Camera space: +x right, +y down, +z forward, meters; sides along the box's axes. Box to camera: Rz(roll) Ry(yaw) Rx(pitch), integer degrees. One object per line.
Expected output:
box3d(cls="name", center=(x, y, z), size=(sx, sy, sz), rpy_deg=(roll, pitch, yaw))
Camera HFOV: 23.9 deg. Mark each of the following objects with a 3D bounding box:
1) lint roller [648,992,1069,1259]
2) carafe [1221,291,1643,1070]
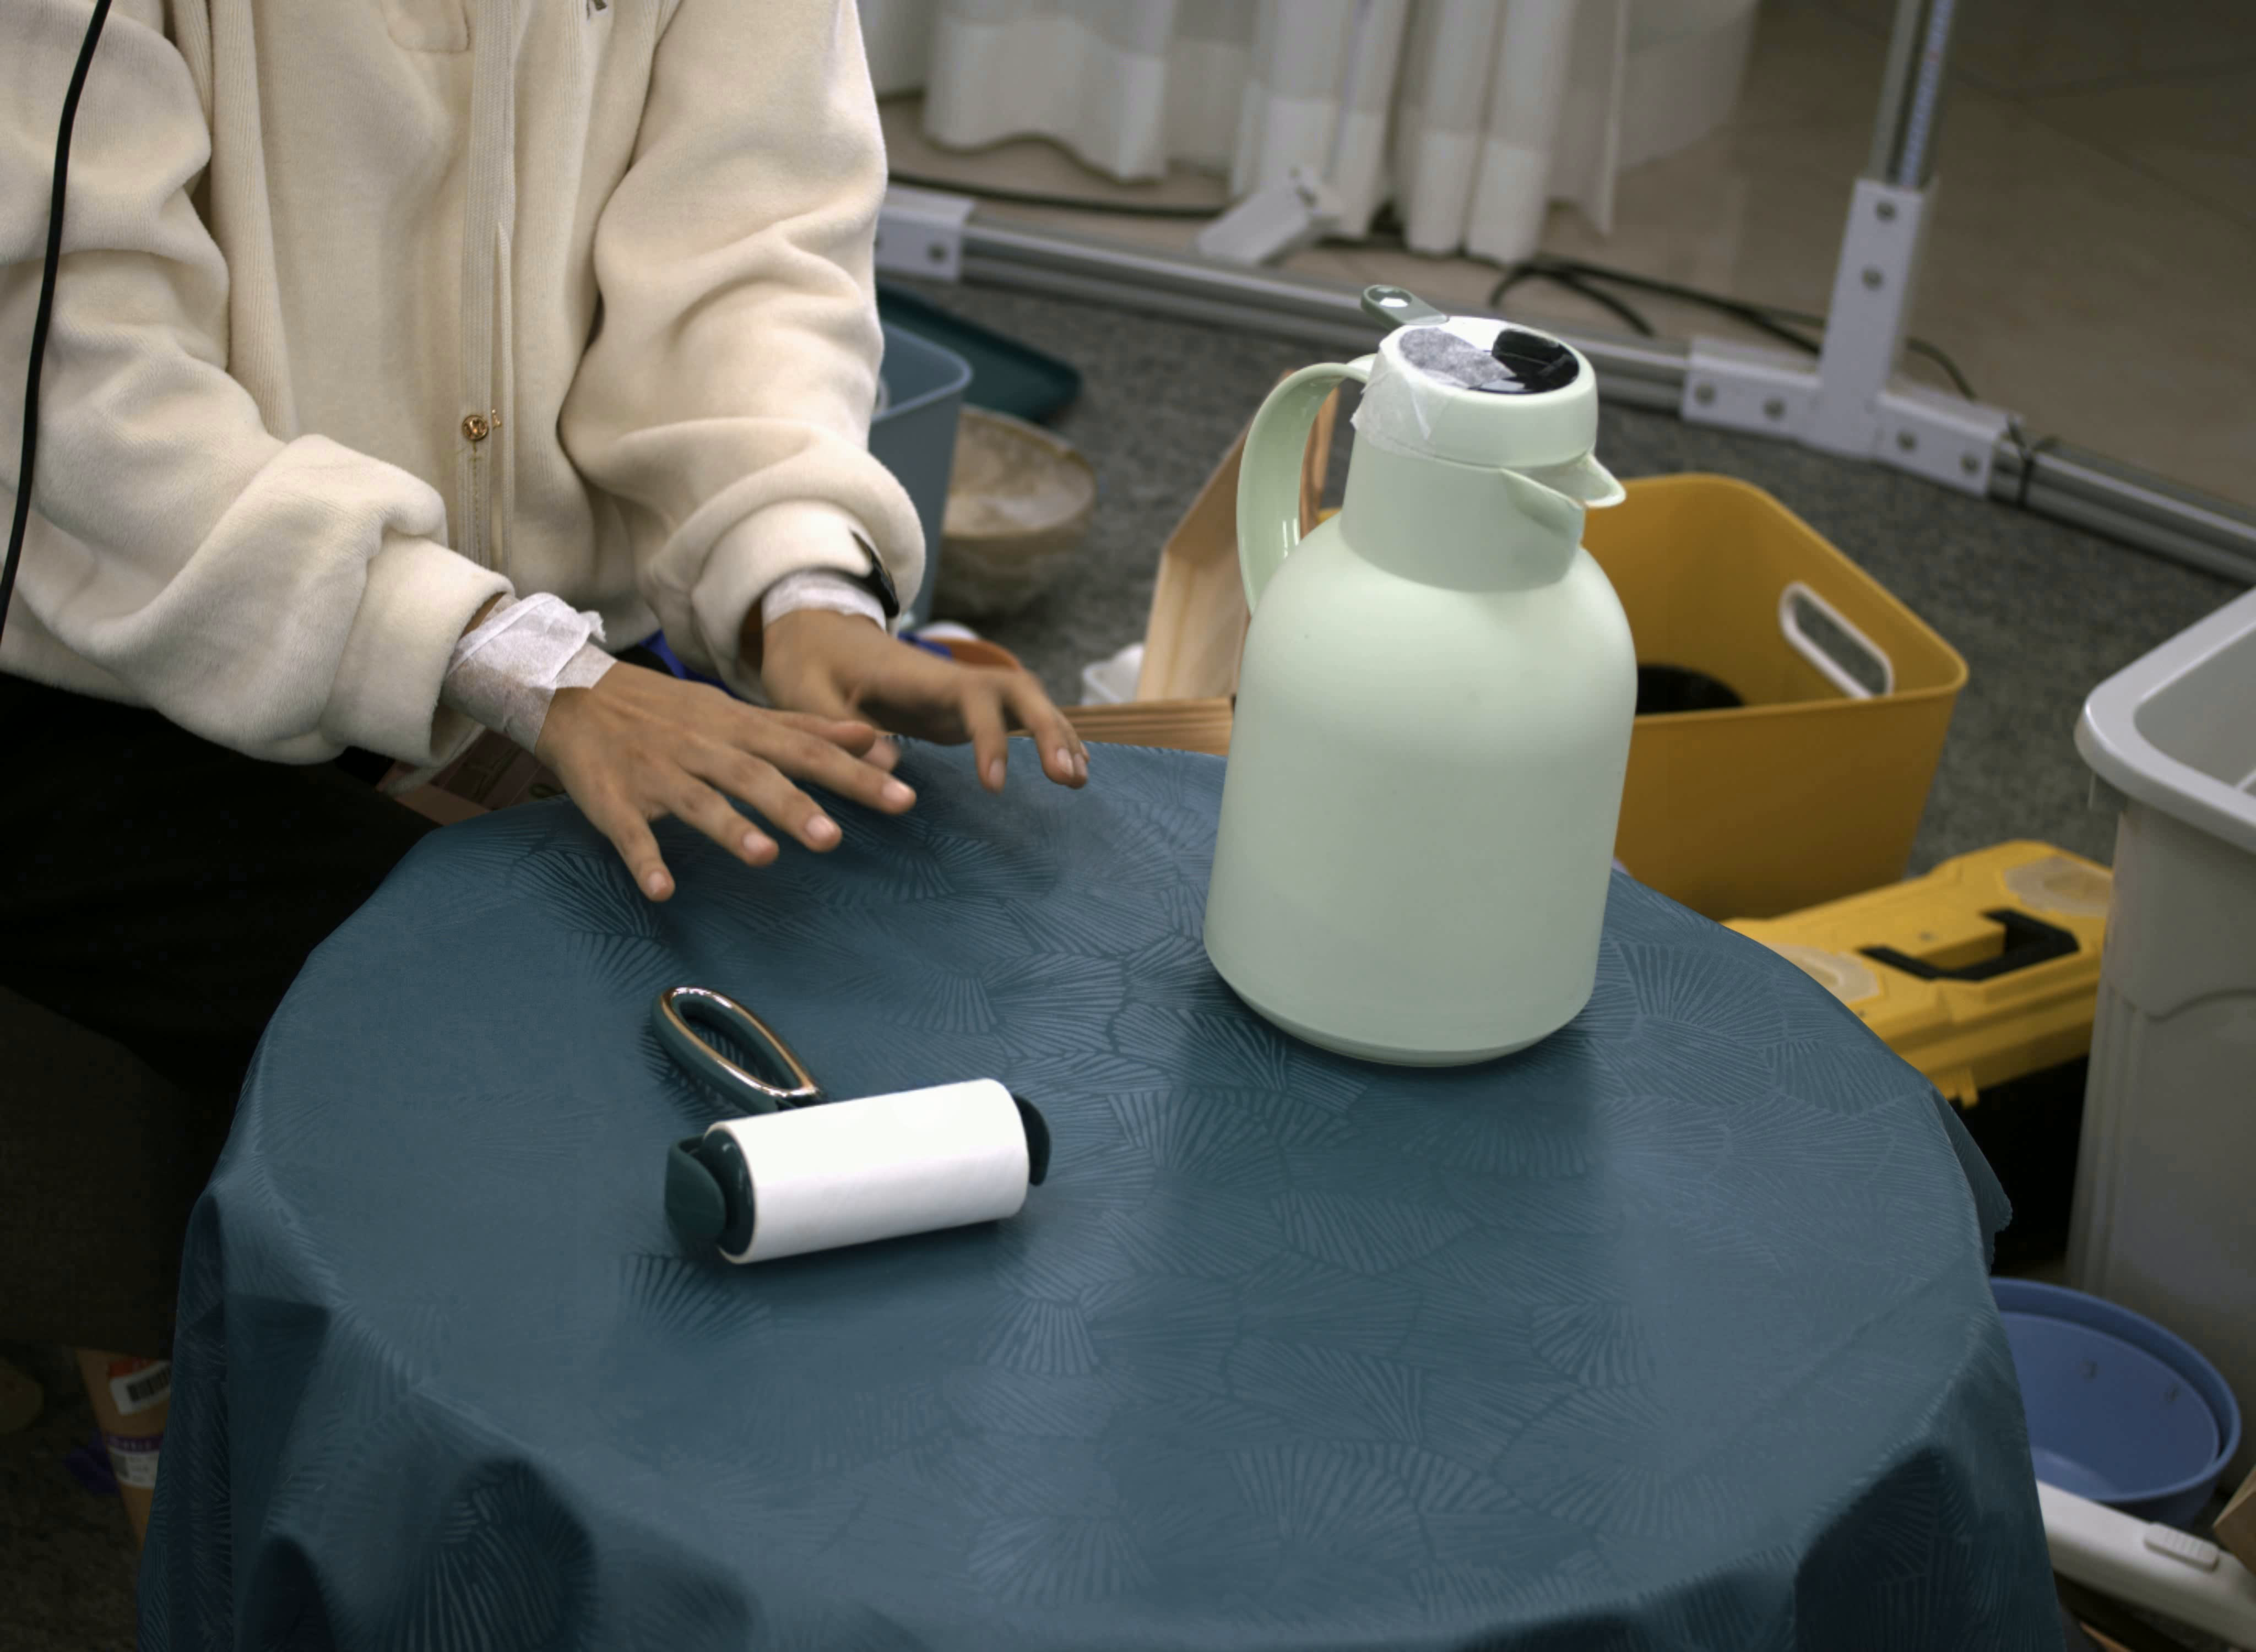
box3d(cls="lint roller", center=(-0.117, 0.083, 1.803), size=(0.133, 0.048, 0.182), rpy_deg=(-7, 30, -27))
box3d(cls="carafe", center=(0.105, -0.057, 1.906), size=(0.143, 0.256, 0.188), rpy_deg=(-14, 29, -32))
